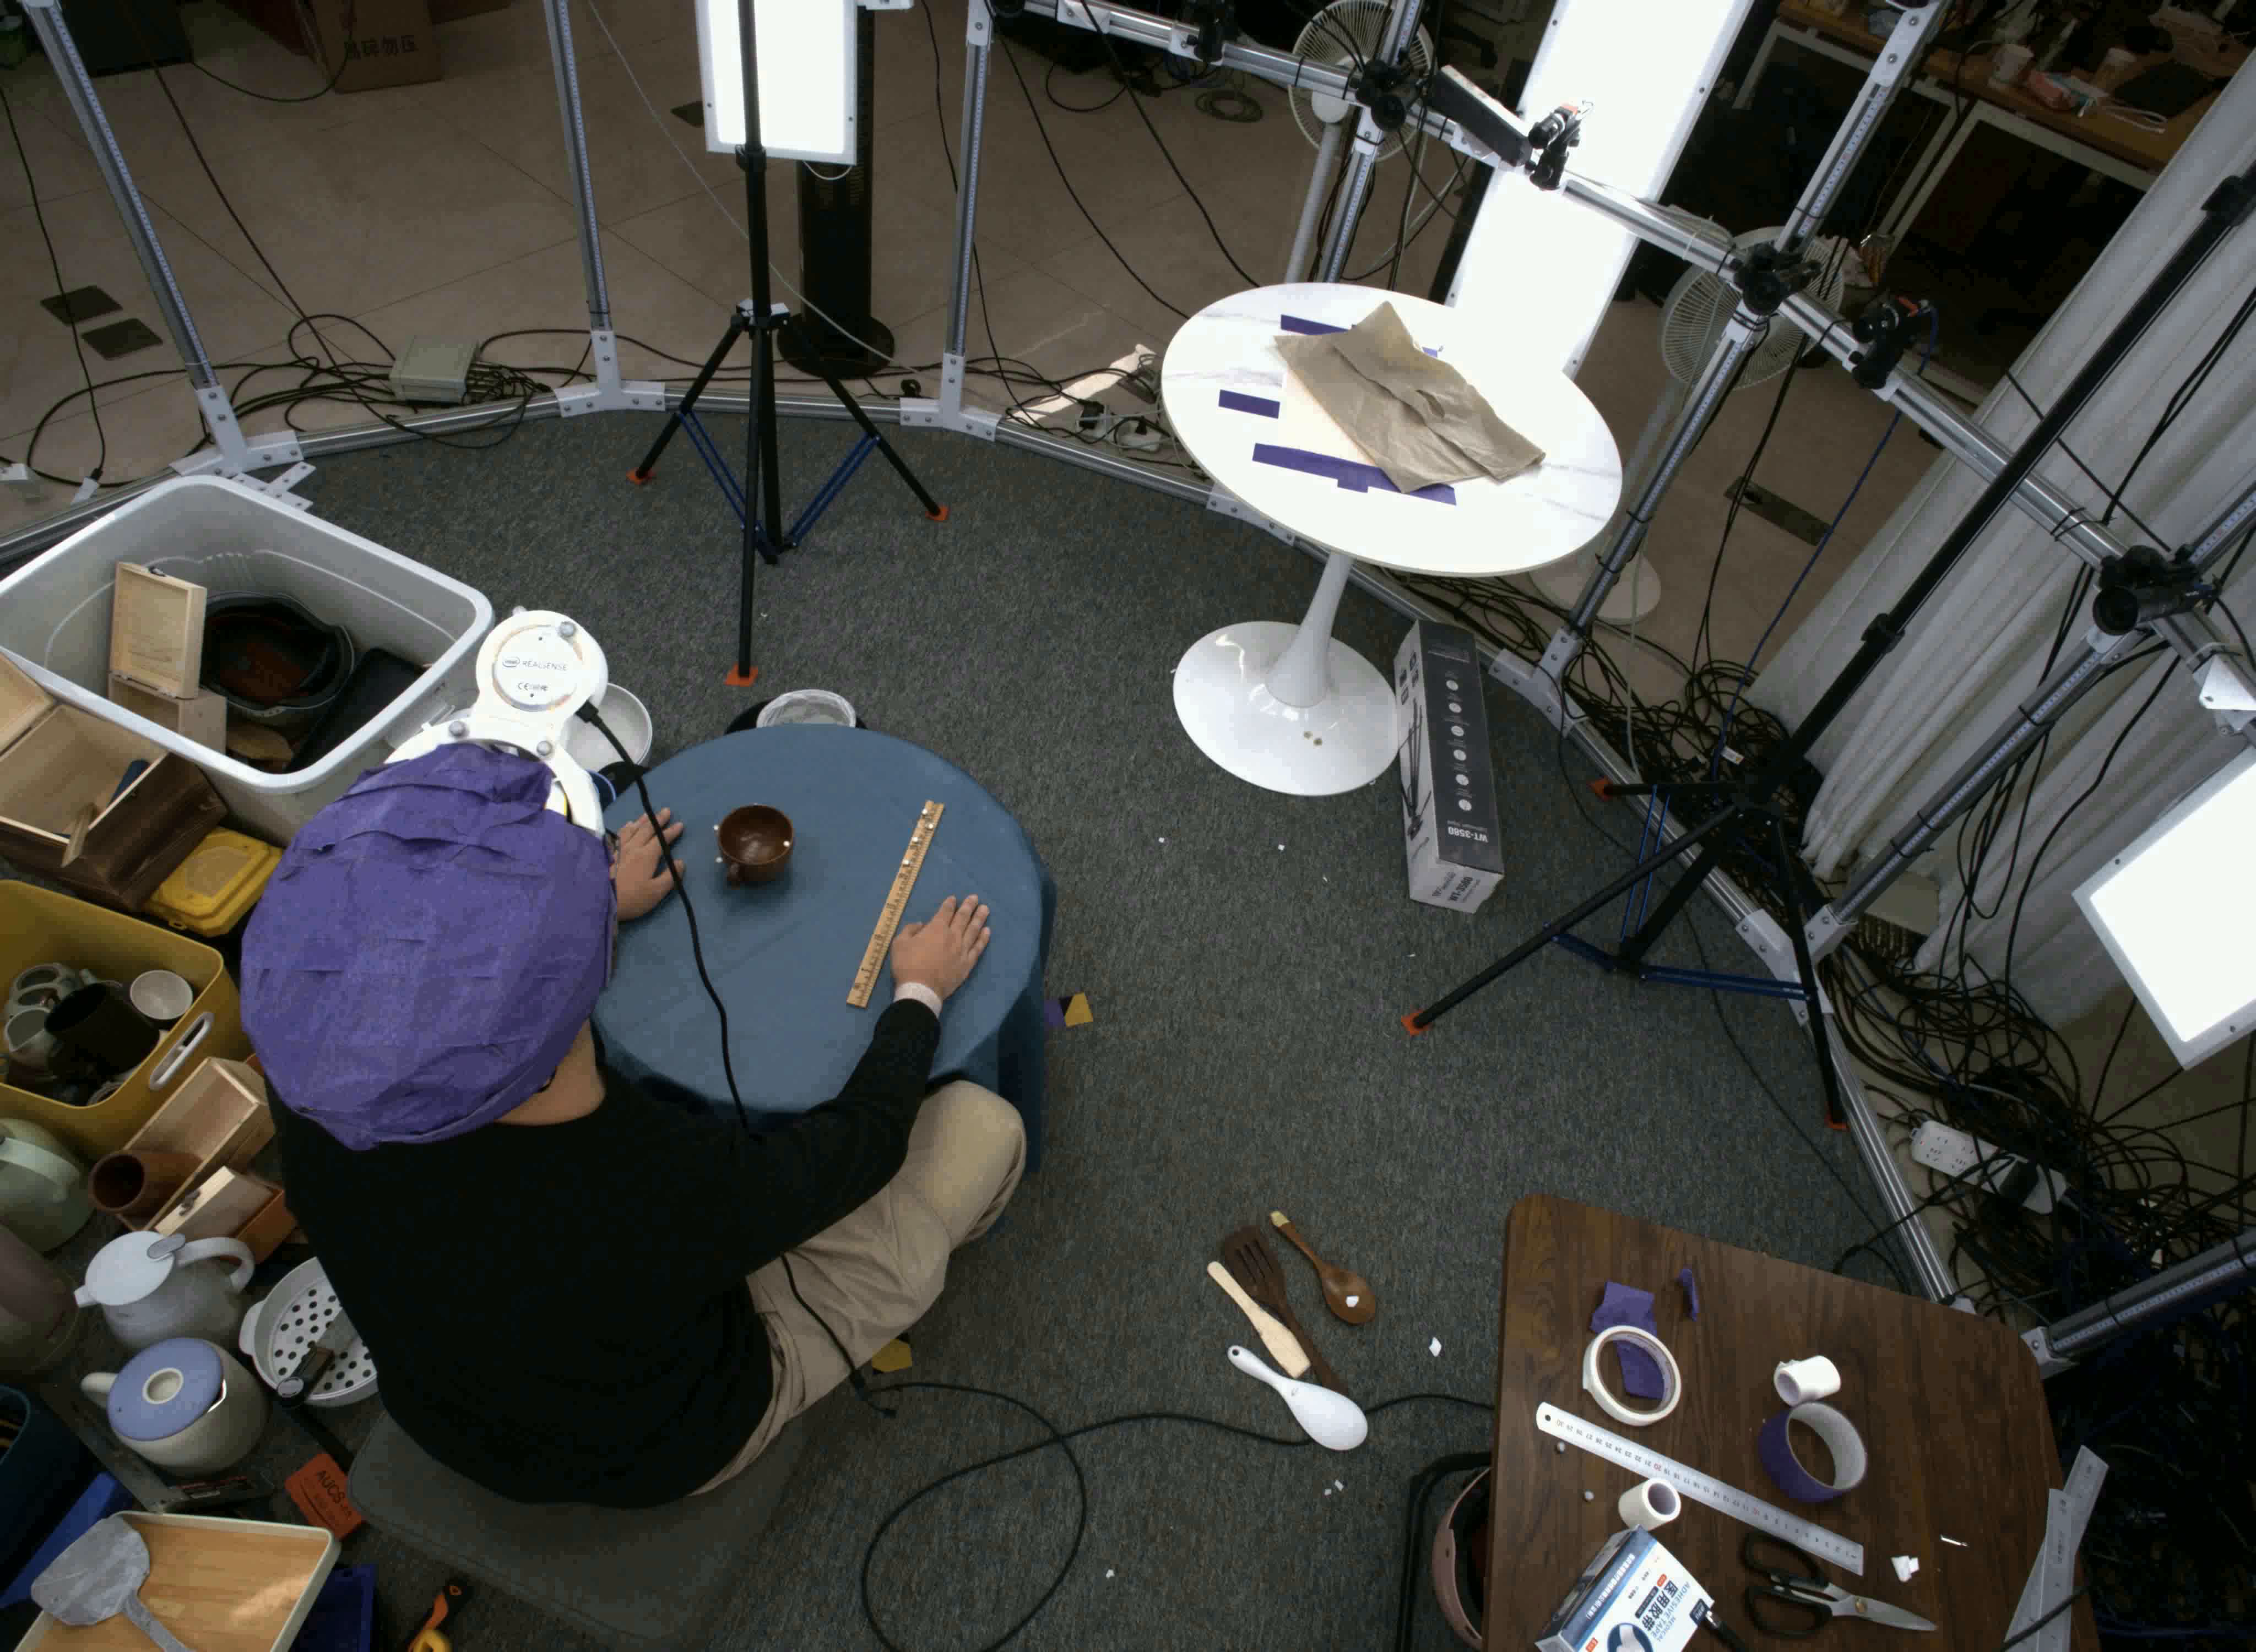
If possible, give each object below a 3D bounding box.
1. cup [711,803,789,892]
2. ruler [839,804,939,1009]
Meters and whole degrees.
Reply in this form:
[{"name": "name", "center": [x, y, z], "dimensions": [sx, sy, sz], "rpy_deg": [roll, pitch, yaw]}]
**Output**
[{"name": "cup", "center": [-0.482, 0.036, 1.634], "dimensions": [0.095, 0.069, 0.118], "rpy_deg": [20, 53, -1]}, {"name": "ruler", "center": [-0.304, 0.092, 1.675], "dimensions": [0.027, 0.023, 0.328], "rpy_deg": [14, 51, 3]}]
